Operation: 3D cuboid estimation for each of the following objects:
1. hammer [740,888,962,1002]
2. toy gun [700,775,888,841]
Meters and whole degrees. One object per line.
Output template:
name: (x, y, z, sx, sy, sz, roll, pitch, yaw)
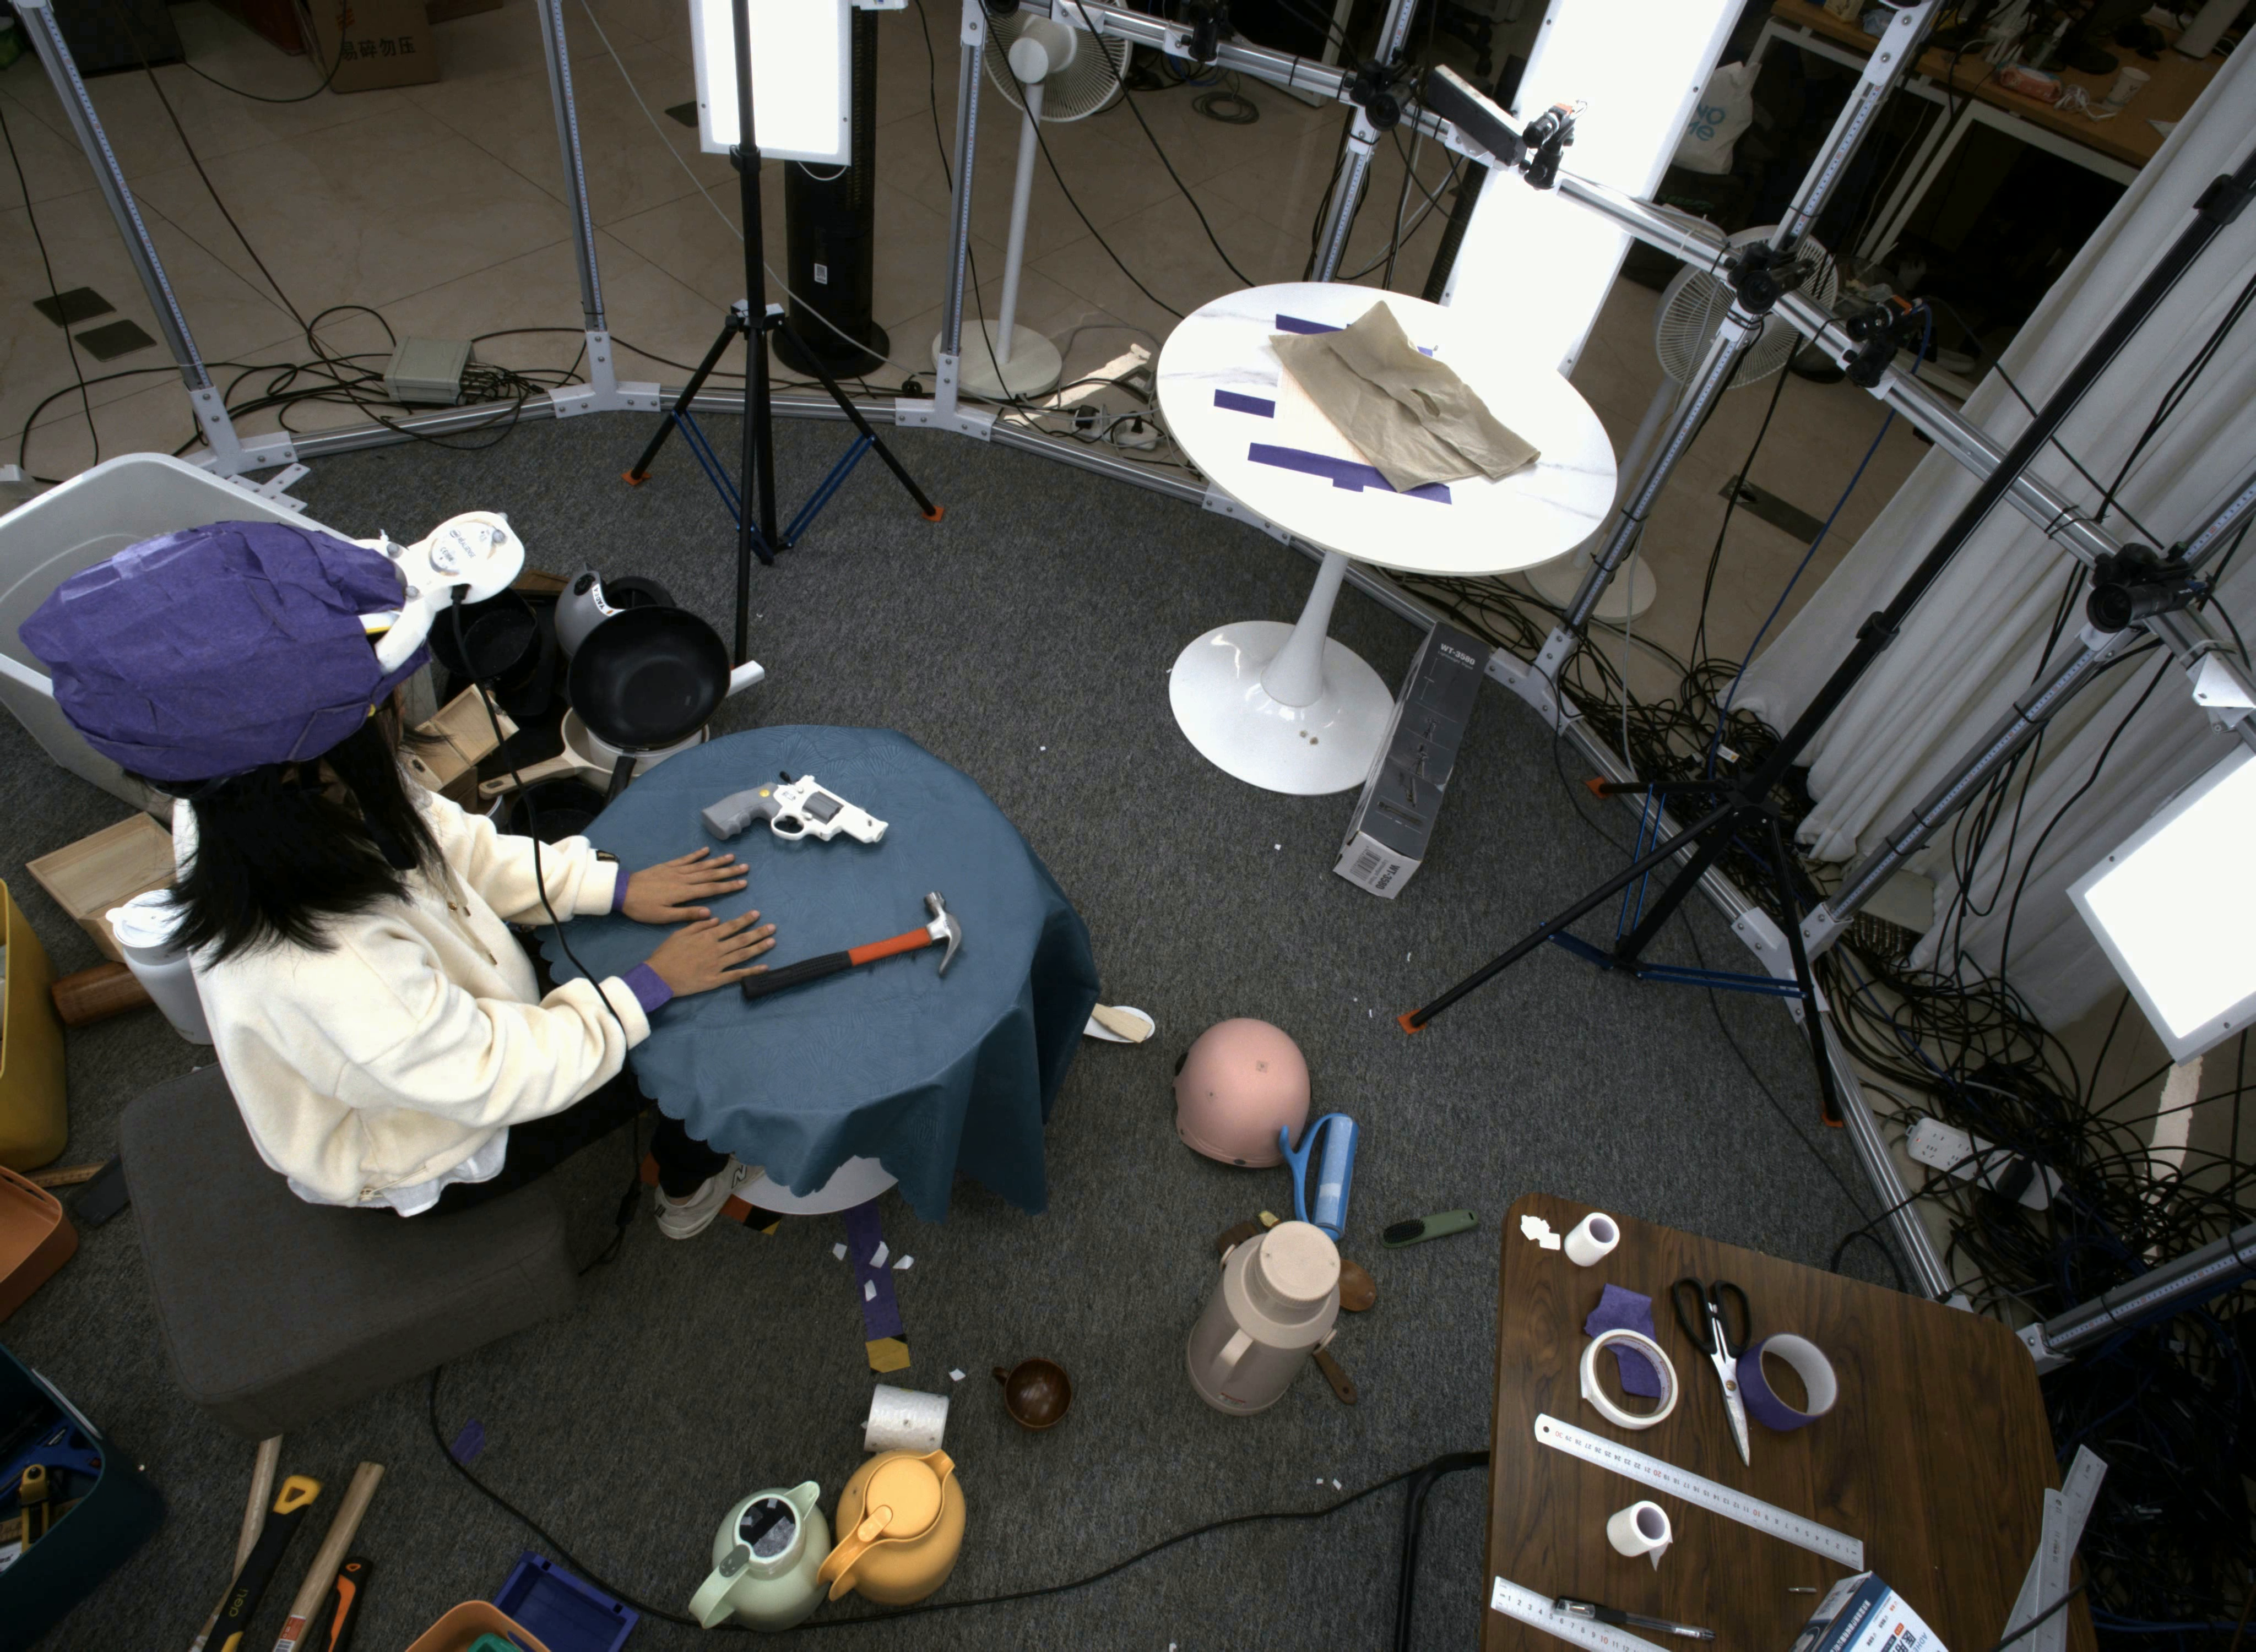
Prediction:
hammer: (-0.338, 0.161, 1.603, 0.279, 0.026, 0.109, -16, 68, -24)
toy gun: (-0.438, -0.008, 1.695, 0.206, 0.039, 0.141, 27, 49, 7)
